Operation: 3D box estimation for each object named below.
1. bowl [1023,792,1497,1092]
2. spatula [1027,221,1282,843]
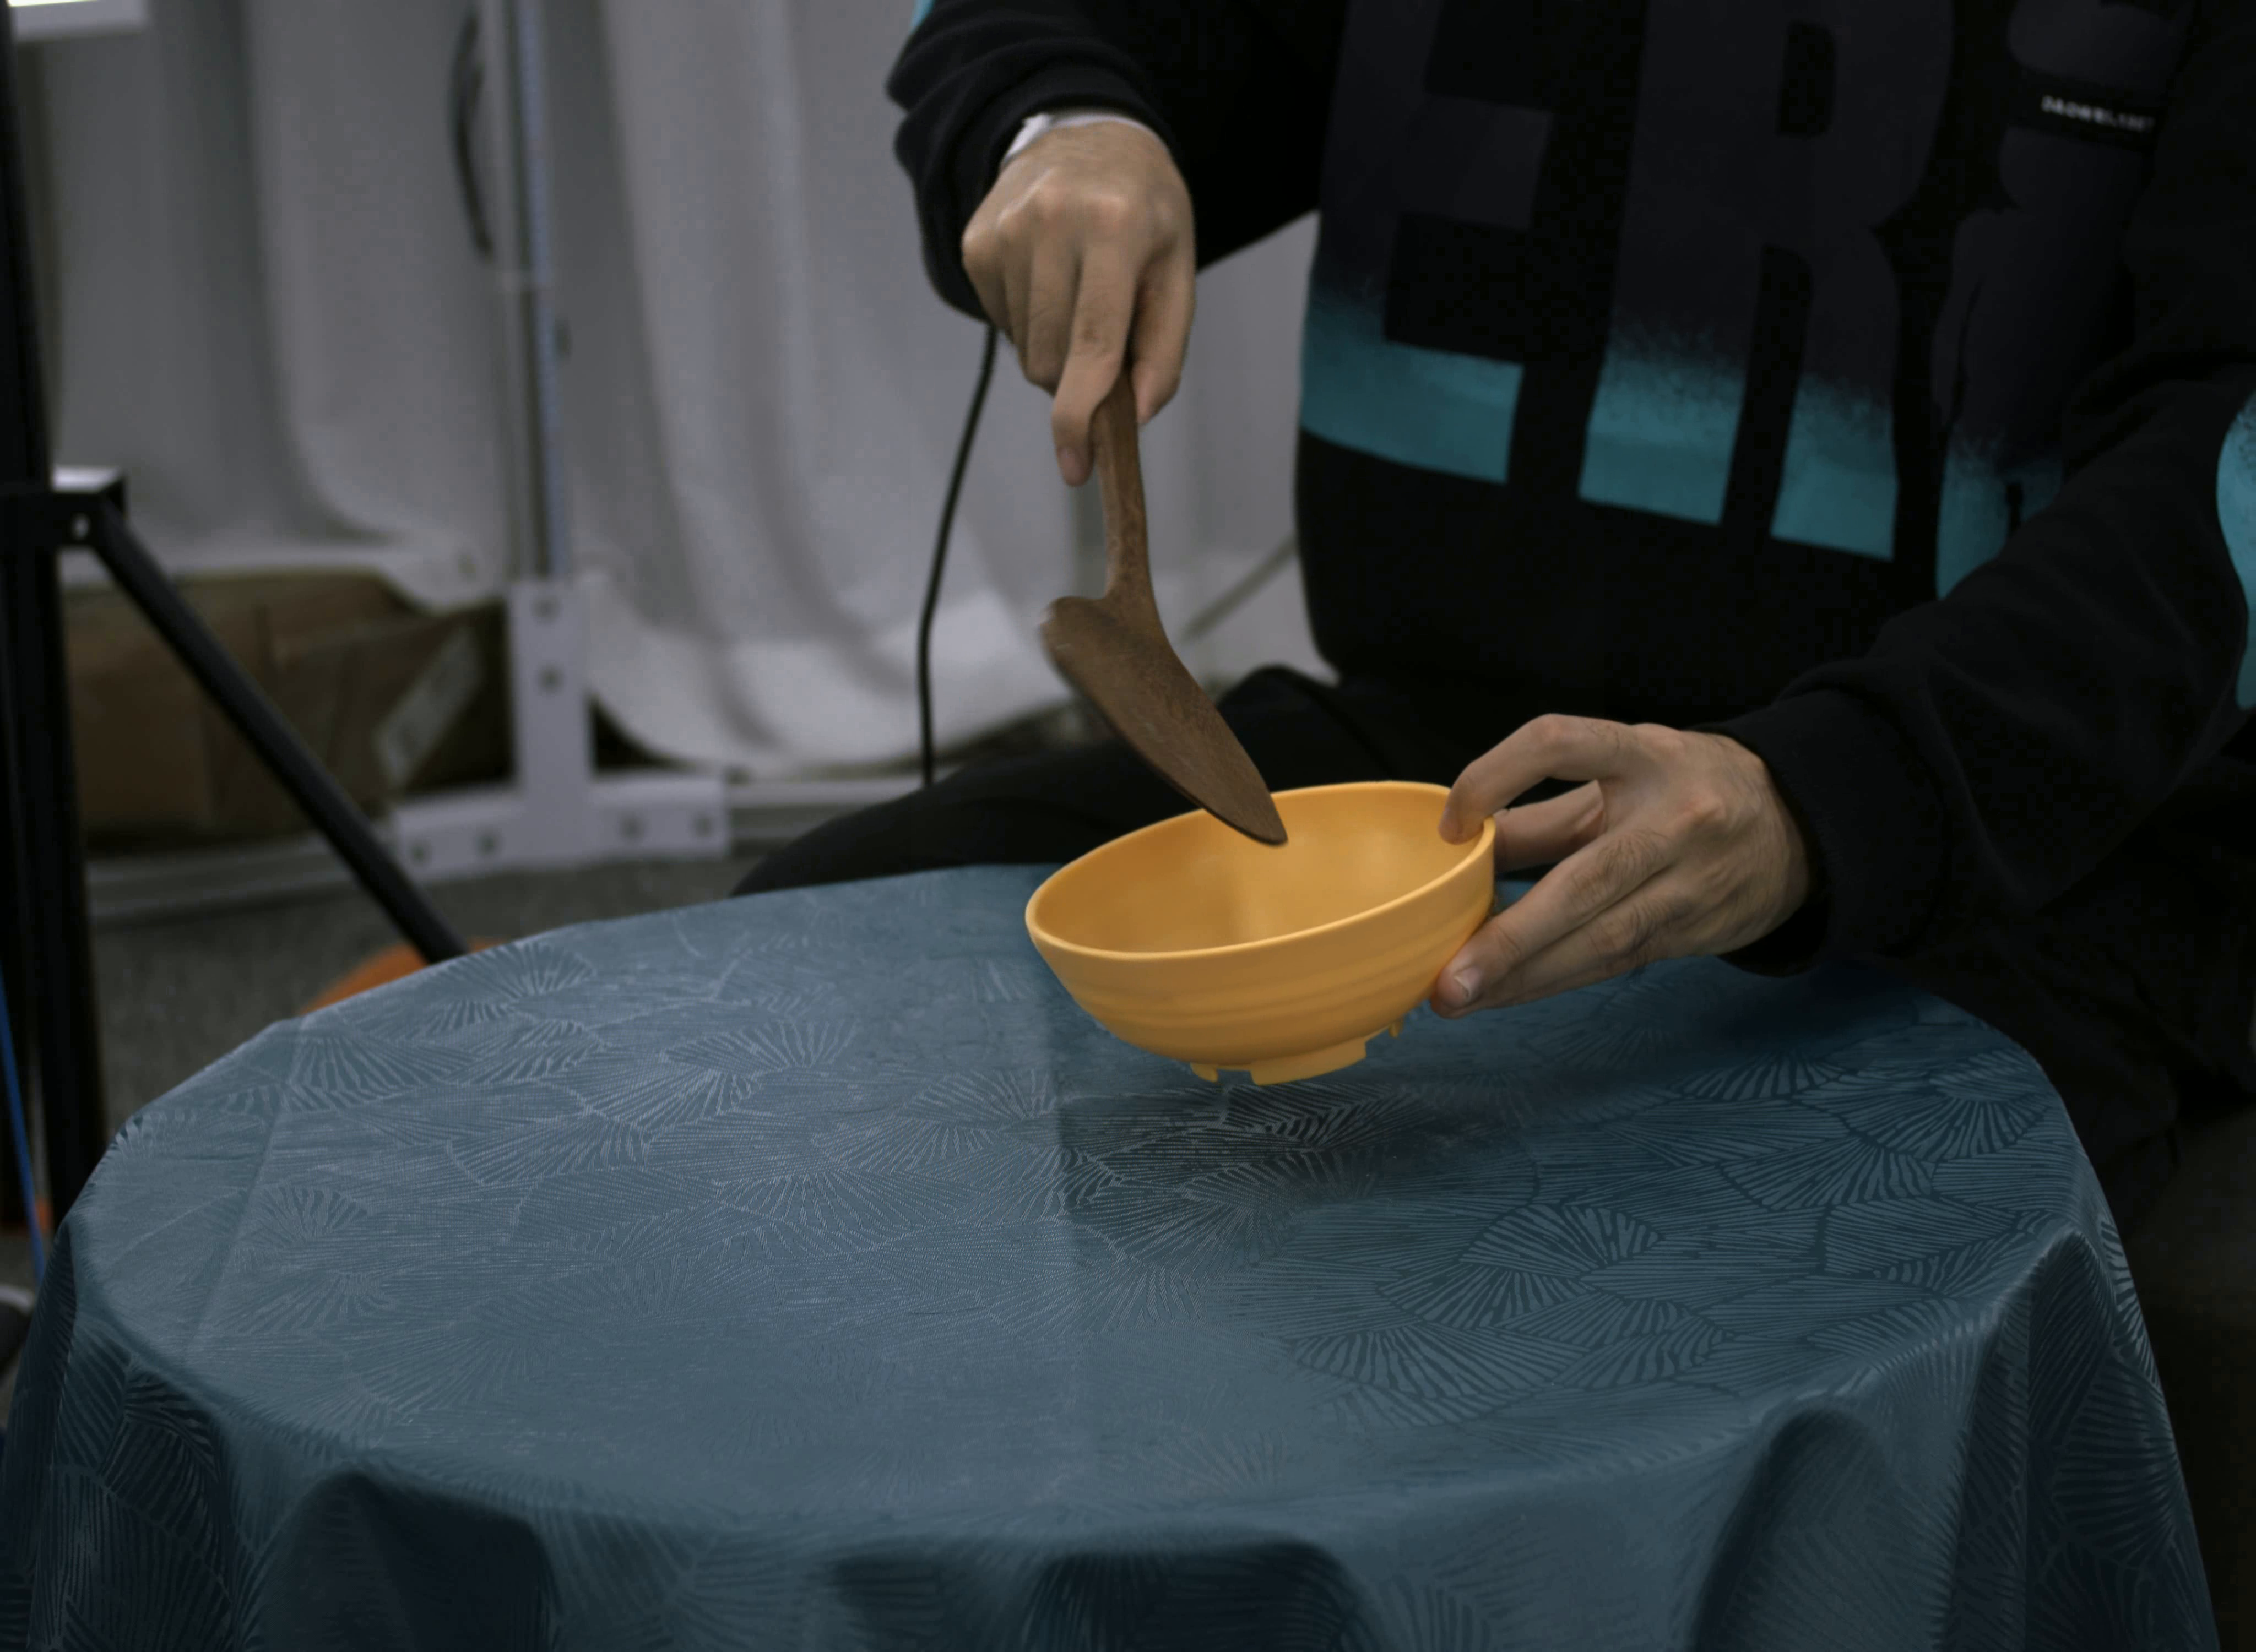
[{"bbox_3d":[0.044,0.042,1.604,0.145,0.060,0.146,-10,17,1],"label":"bowl"},{"bbox_3d":[-0.003,-0.110,1.725,0.094,0.016,0.390,34,23,-22],"label":"spatula"}]
